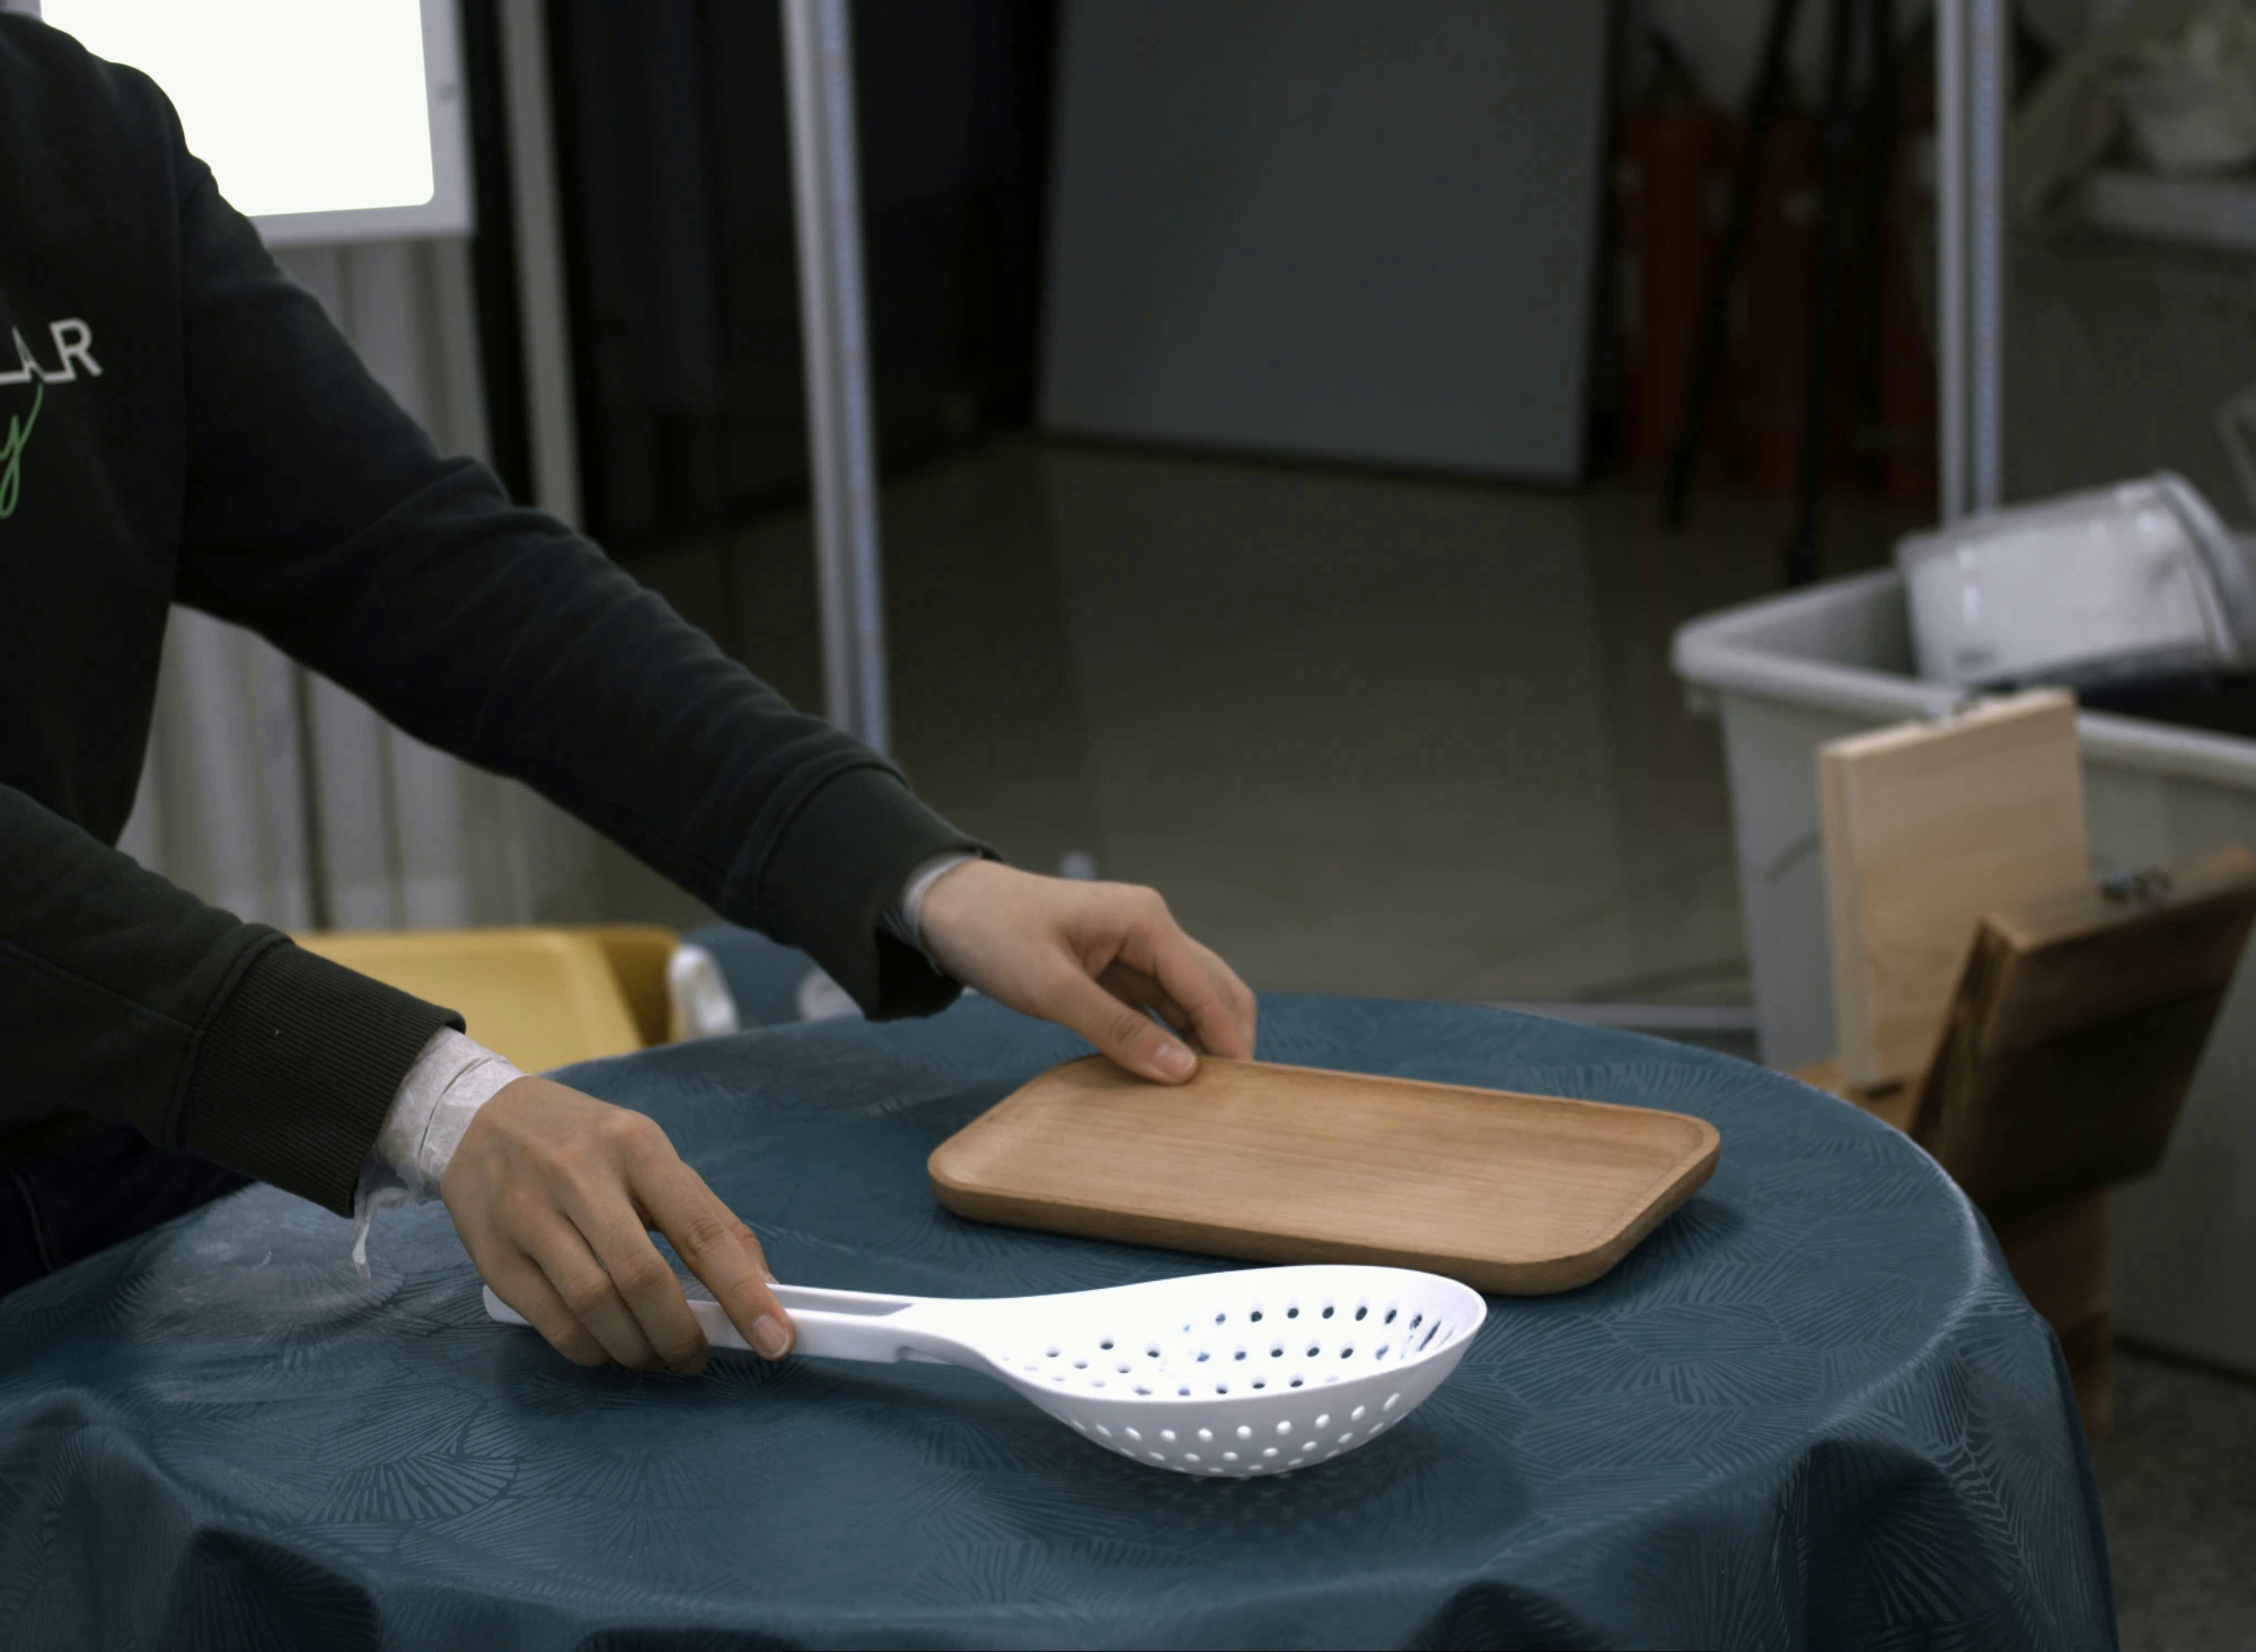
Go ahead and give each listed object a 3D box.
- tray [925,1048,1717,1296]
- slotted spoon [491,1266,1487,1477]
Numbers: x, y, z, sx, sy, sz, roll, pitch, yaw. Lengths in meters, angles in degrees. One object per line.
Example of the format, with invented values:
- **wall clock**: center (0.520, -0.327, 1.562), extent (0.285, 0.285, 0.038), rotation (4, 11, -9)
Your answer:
- **tray**: center (0.061, 0.111, 1.740), extent (0.252, 0.023, 0.128), rotation (4, 19, 33)
- **slotted spoon**: center (-0.052, 0.148, 1.579), extent (0.352, 0.046, 0.133), rotation (6, 14, 36)
